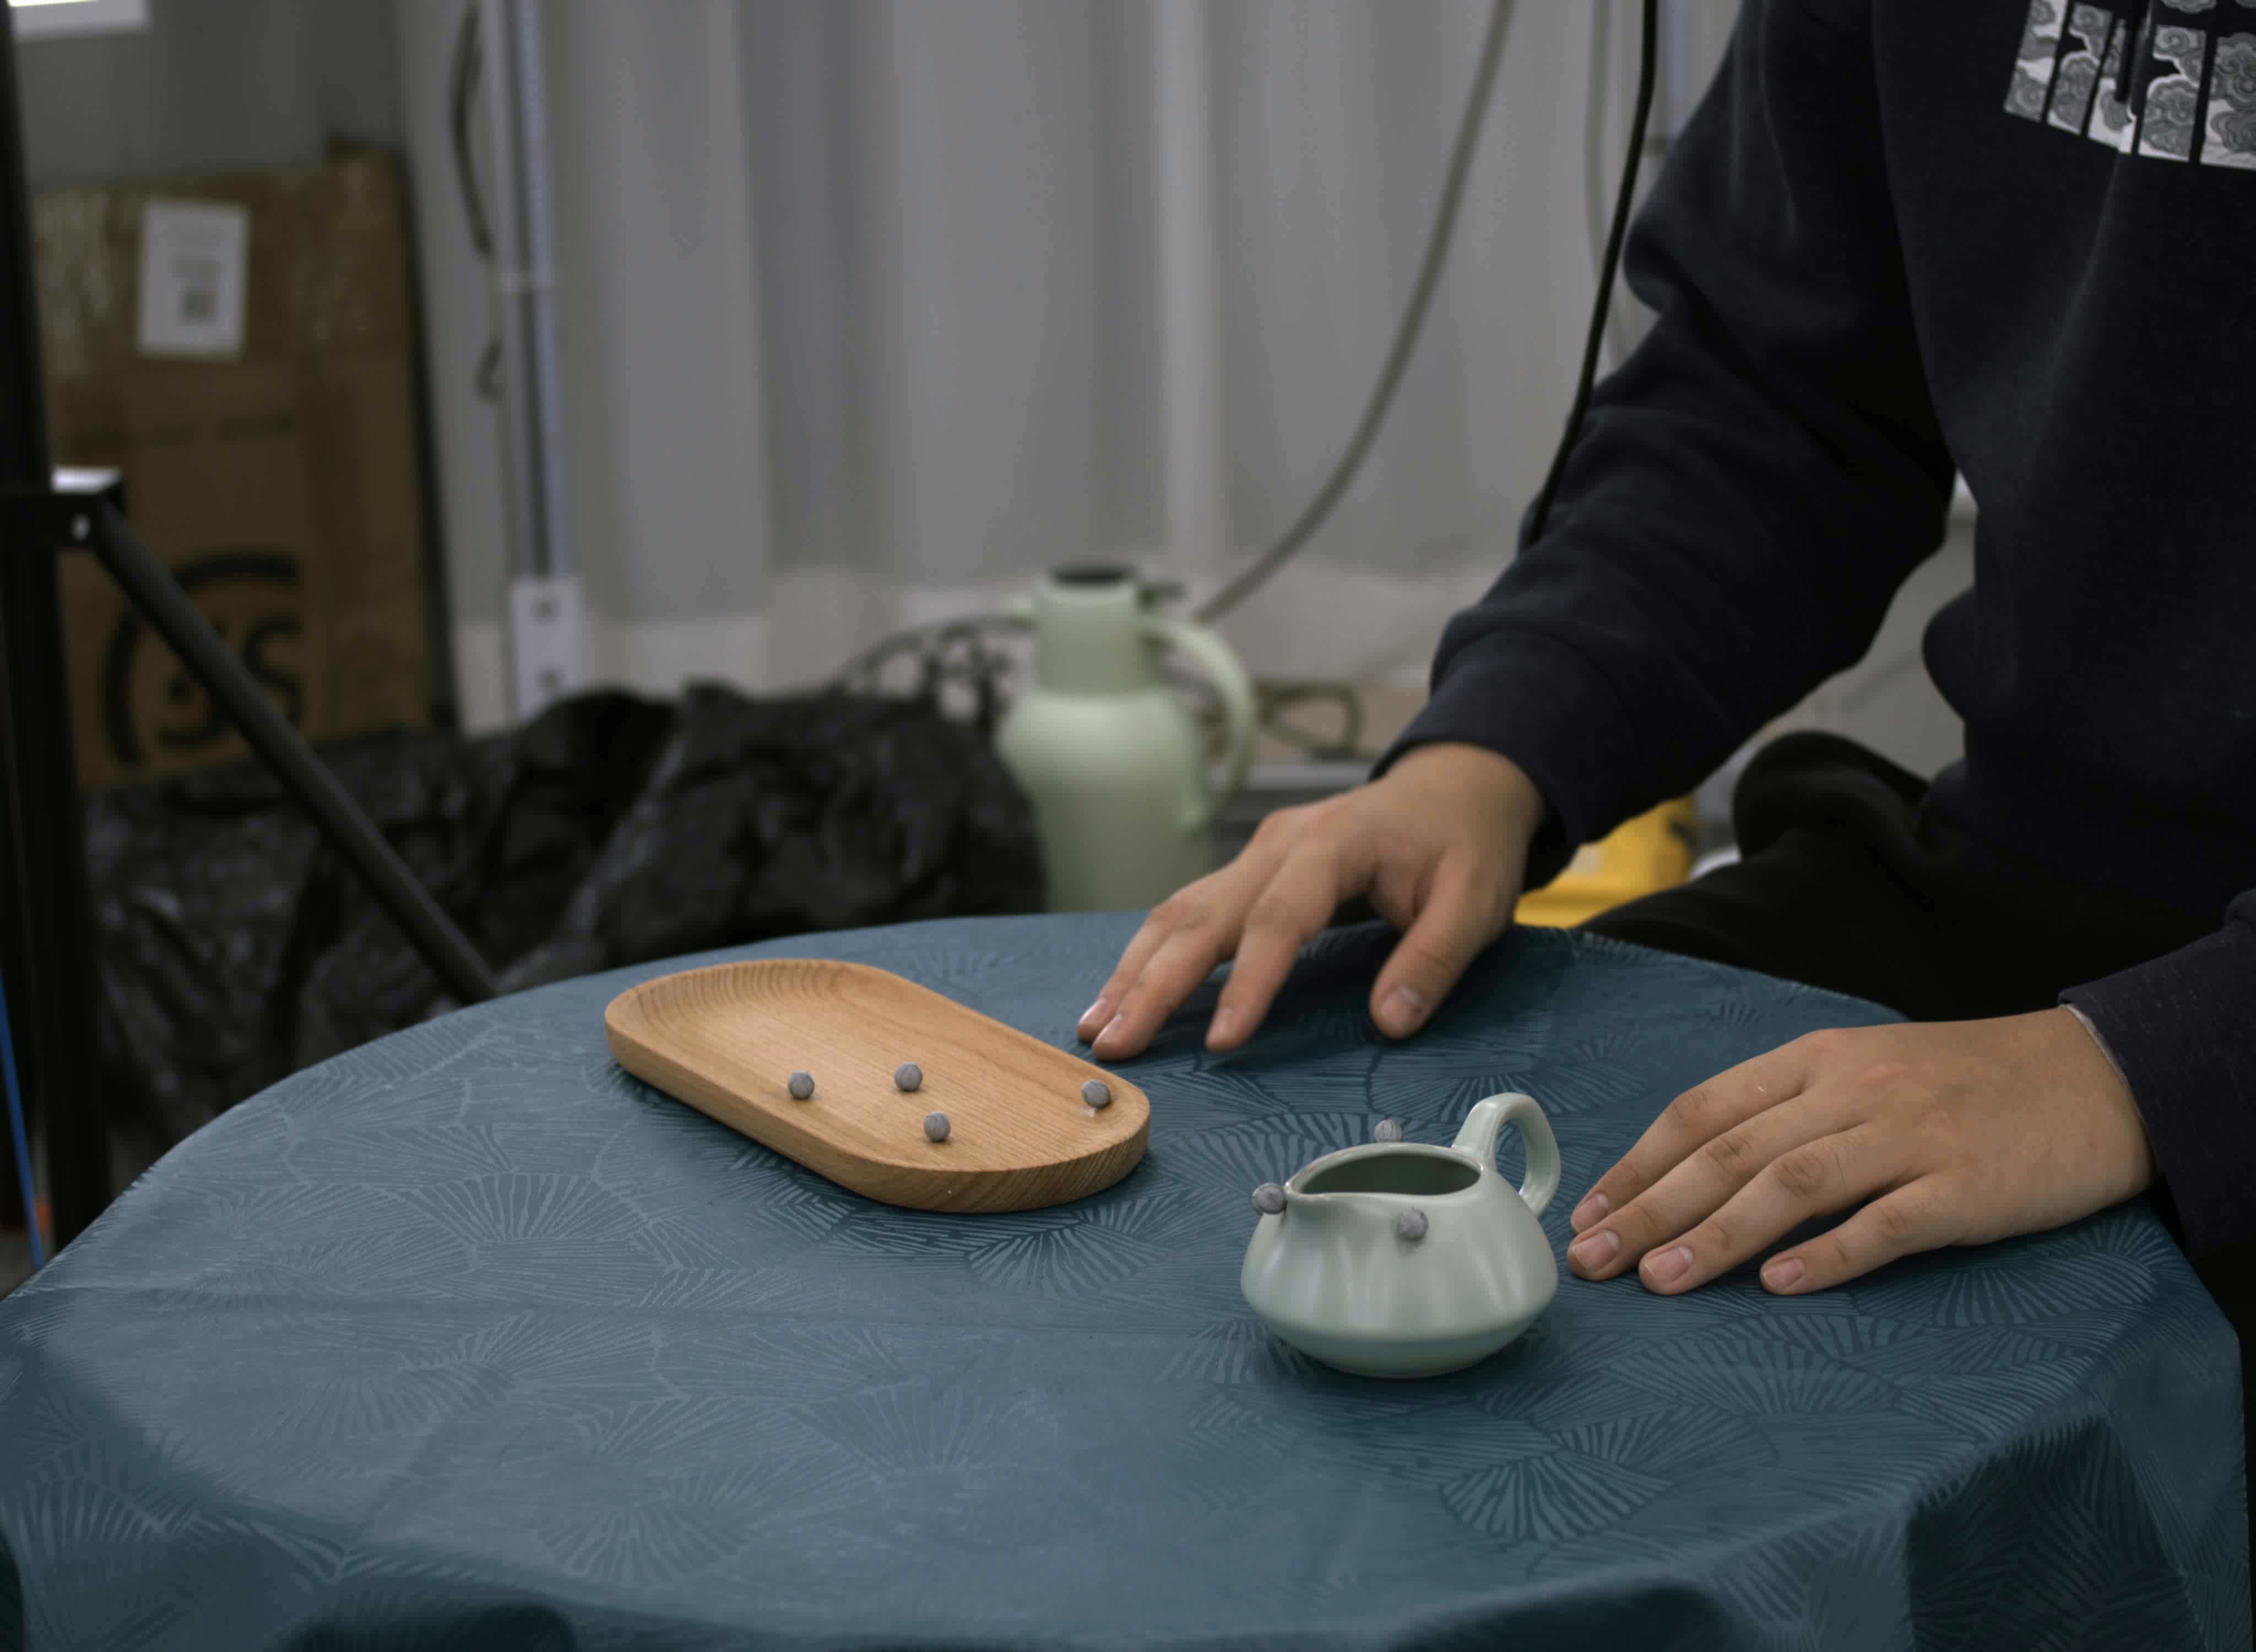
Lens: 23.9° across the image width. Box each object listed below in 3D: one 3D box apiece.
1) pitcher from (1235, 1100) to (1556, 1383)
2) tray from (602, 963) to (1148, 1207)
[{"bbox_3d":[0.080,0.112,1.431,0.088,0.060,0.105,13,19,40],"label":"pitcher"},{"bbox_3d":[-0.080,0.078,1.644,0.099,0.020,0.236,-11,16,-31],"label":"tray"}]
